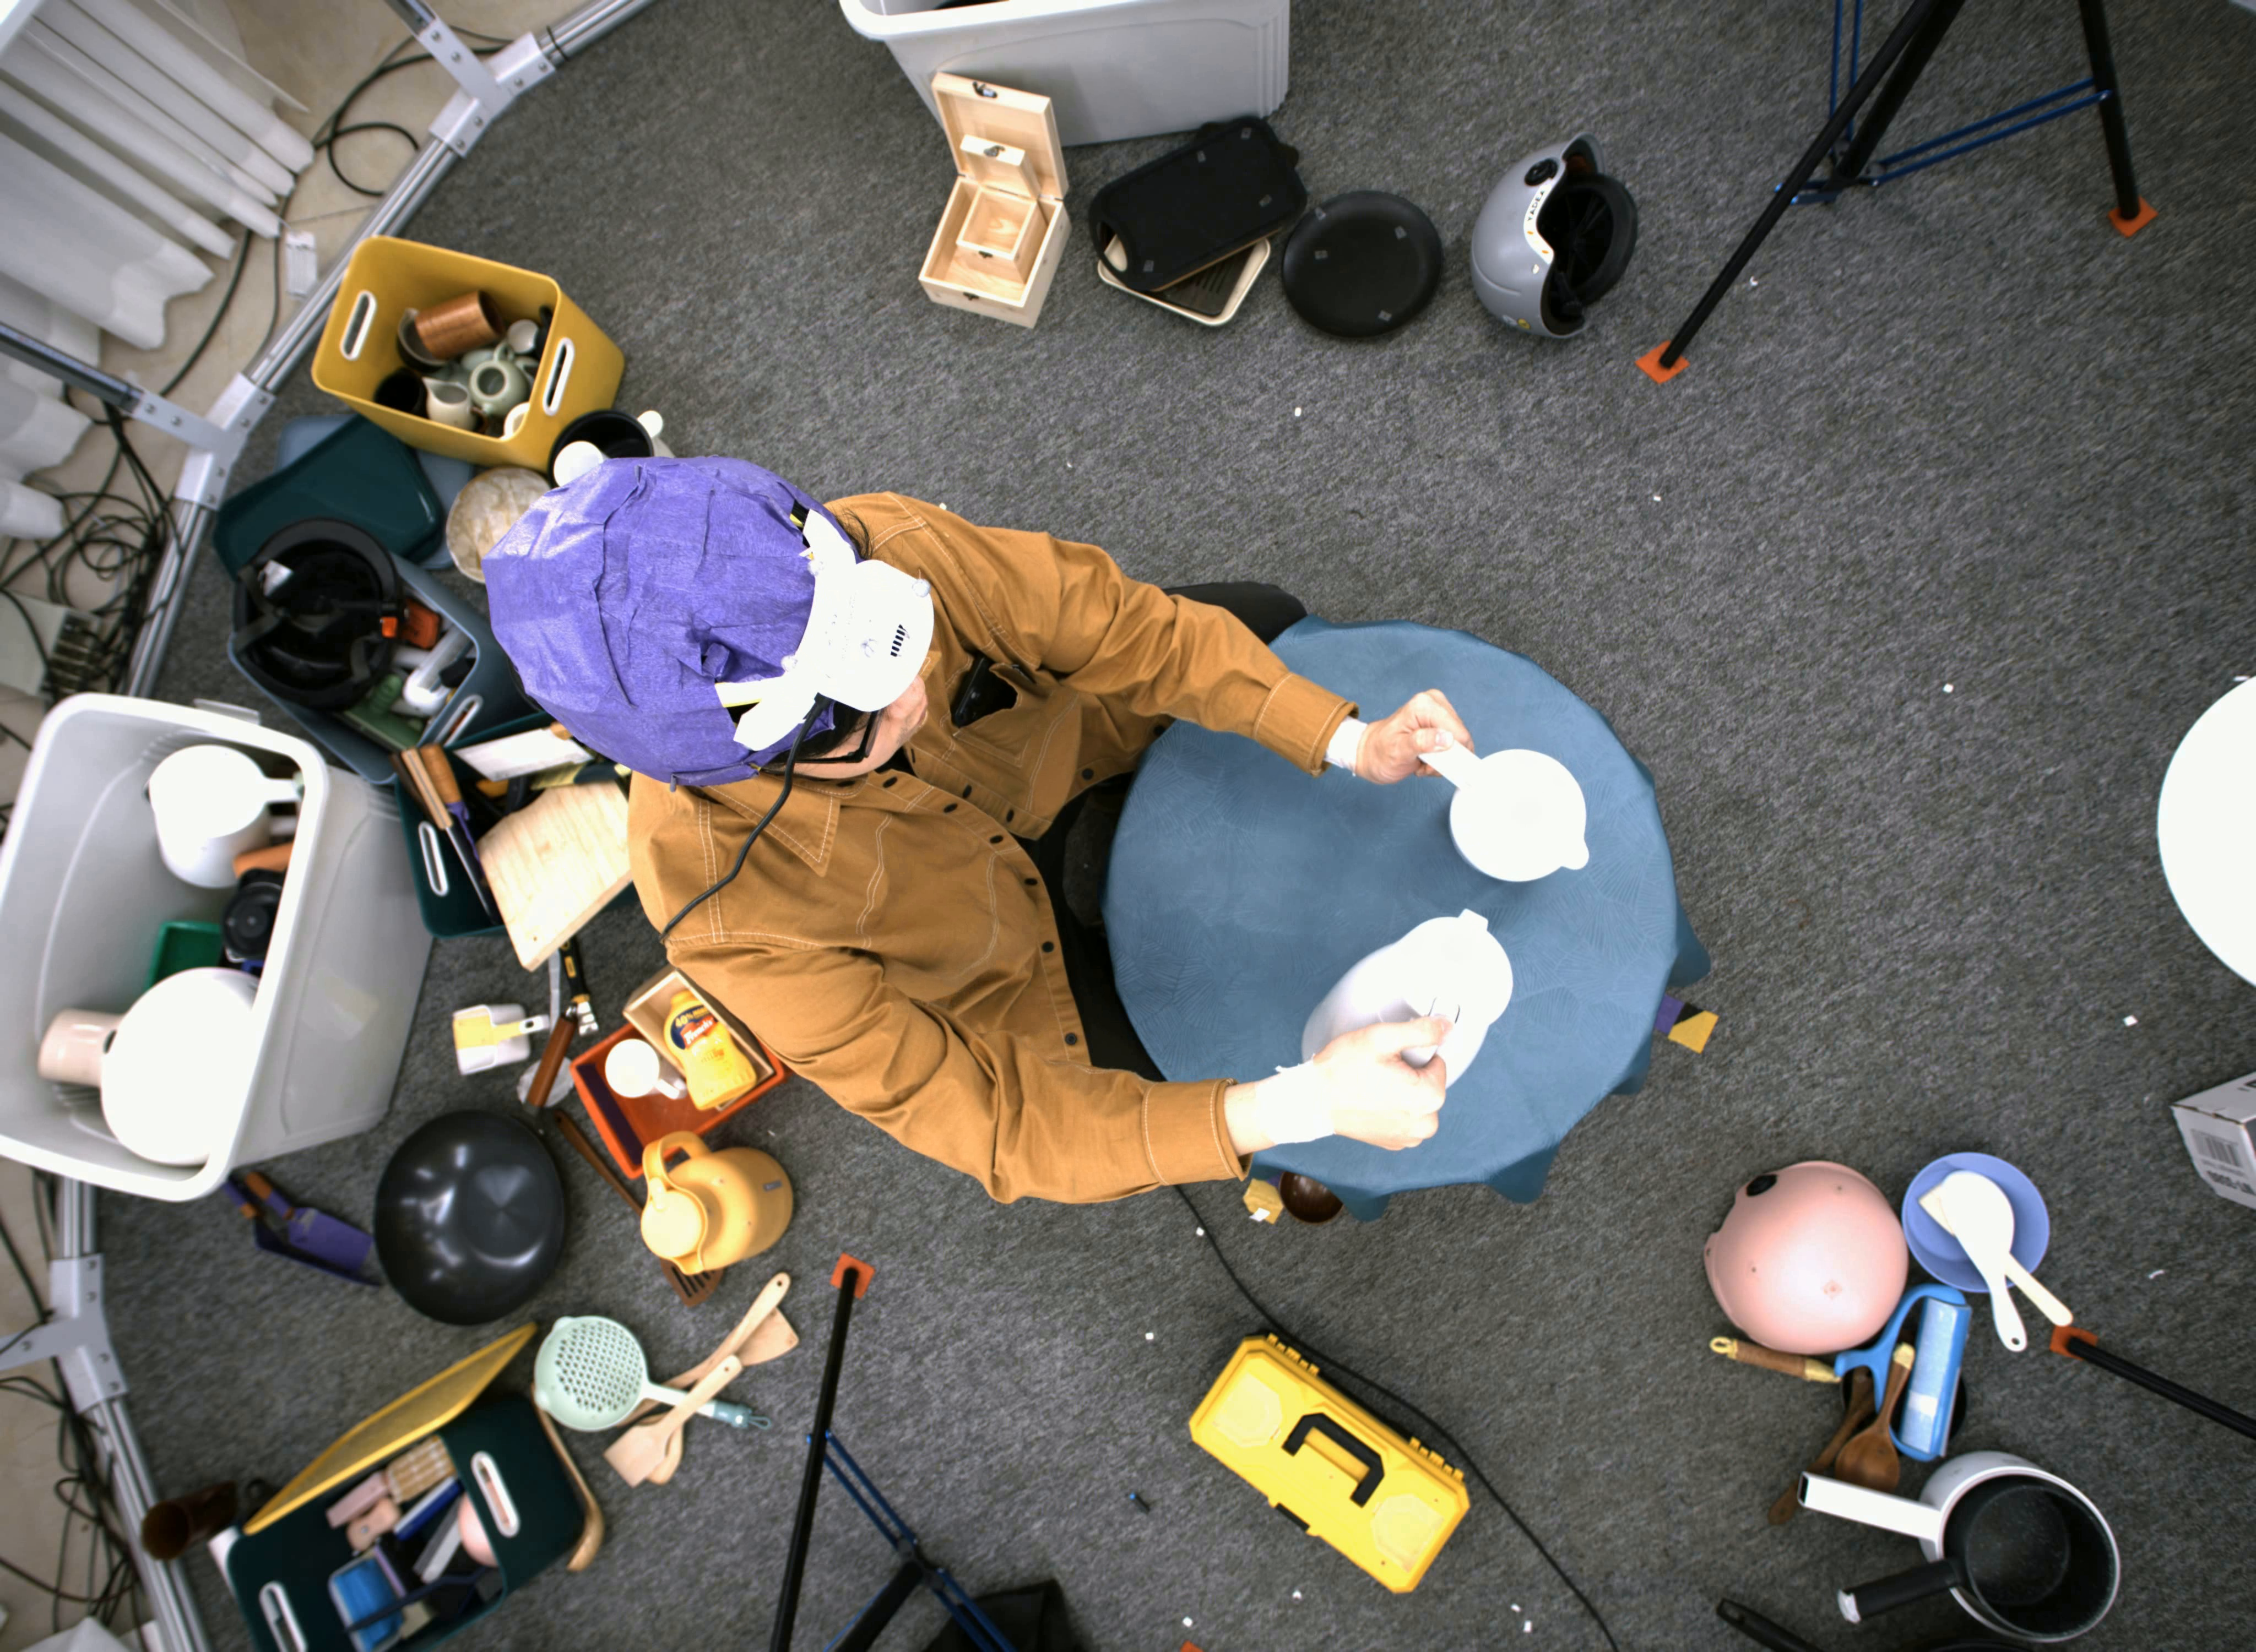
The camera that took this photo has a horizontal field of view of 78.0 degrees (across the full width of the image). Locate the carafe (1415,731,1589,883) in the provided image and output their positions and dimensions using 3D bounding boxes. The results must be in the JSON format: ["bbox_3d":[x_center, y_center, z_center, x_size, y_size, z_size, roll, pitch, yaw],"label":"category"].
[{"bbox_3d":[0.344,-0.019,1.277,0.172,0.267,0.125,39,100,11],"label":"carafe"}]

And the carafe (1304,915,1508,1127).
[{"bbox_3d":[0.231,0.178,1.164,0.132,0.253,0.165,27,69,5],"label":"carafe"}]
